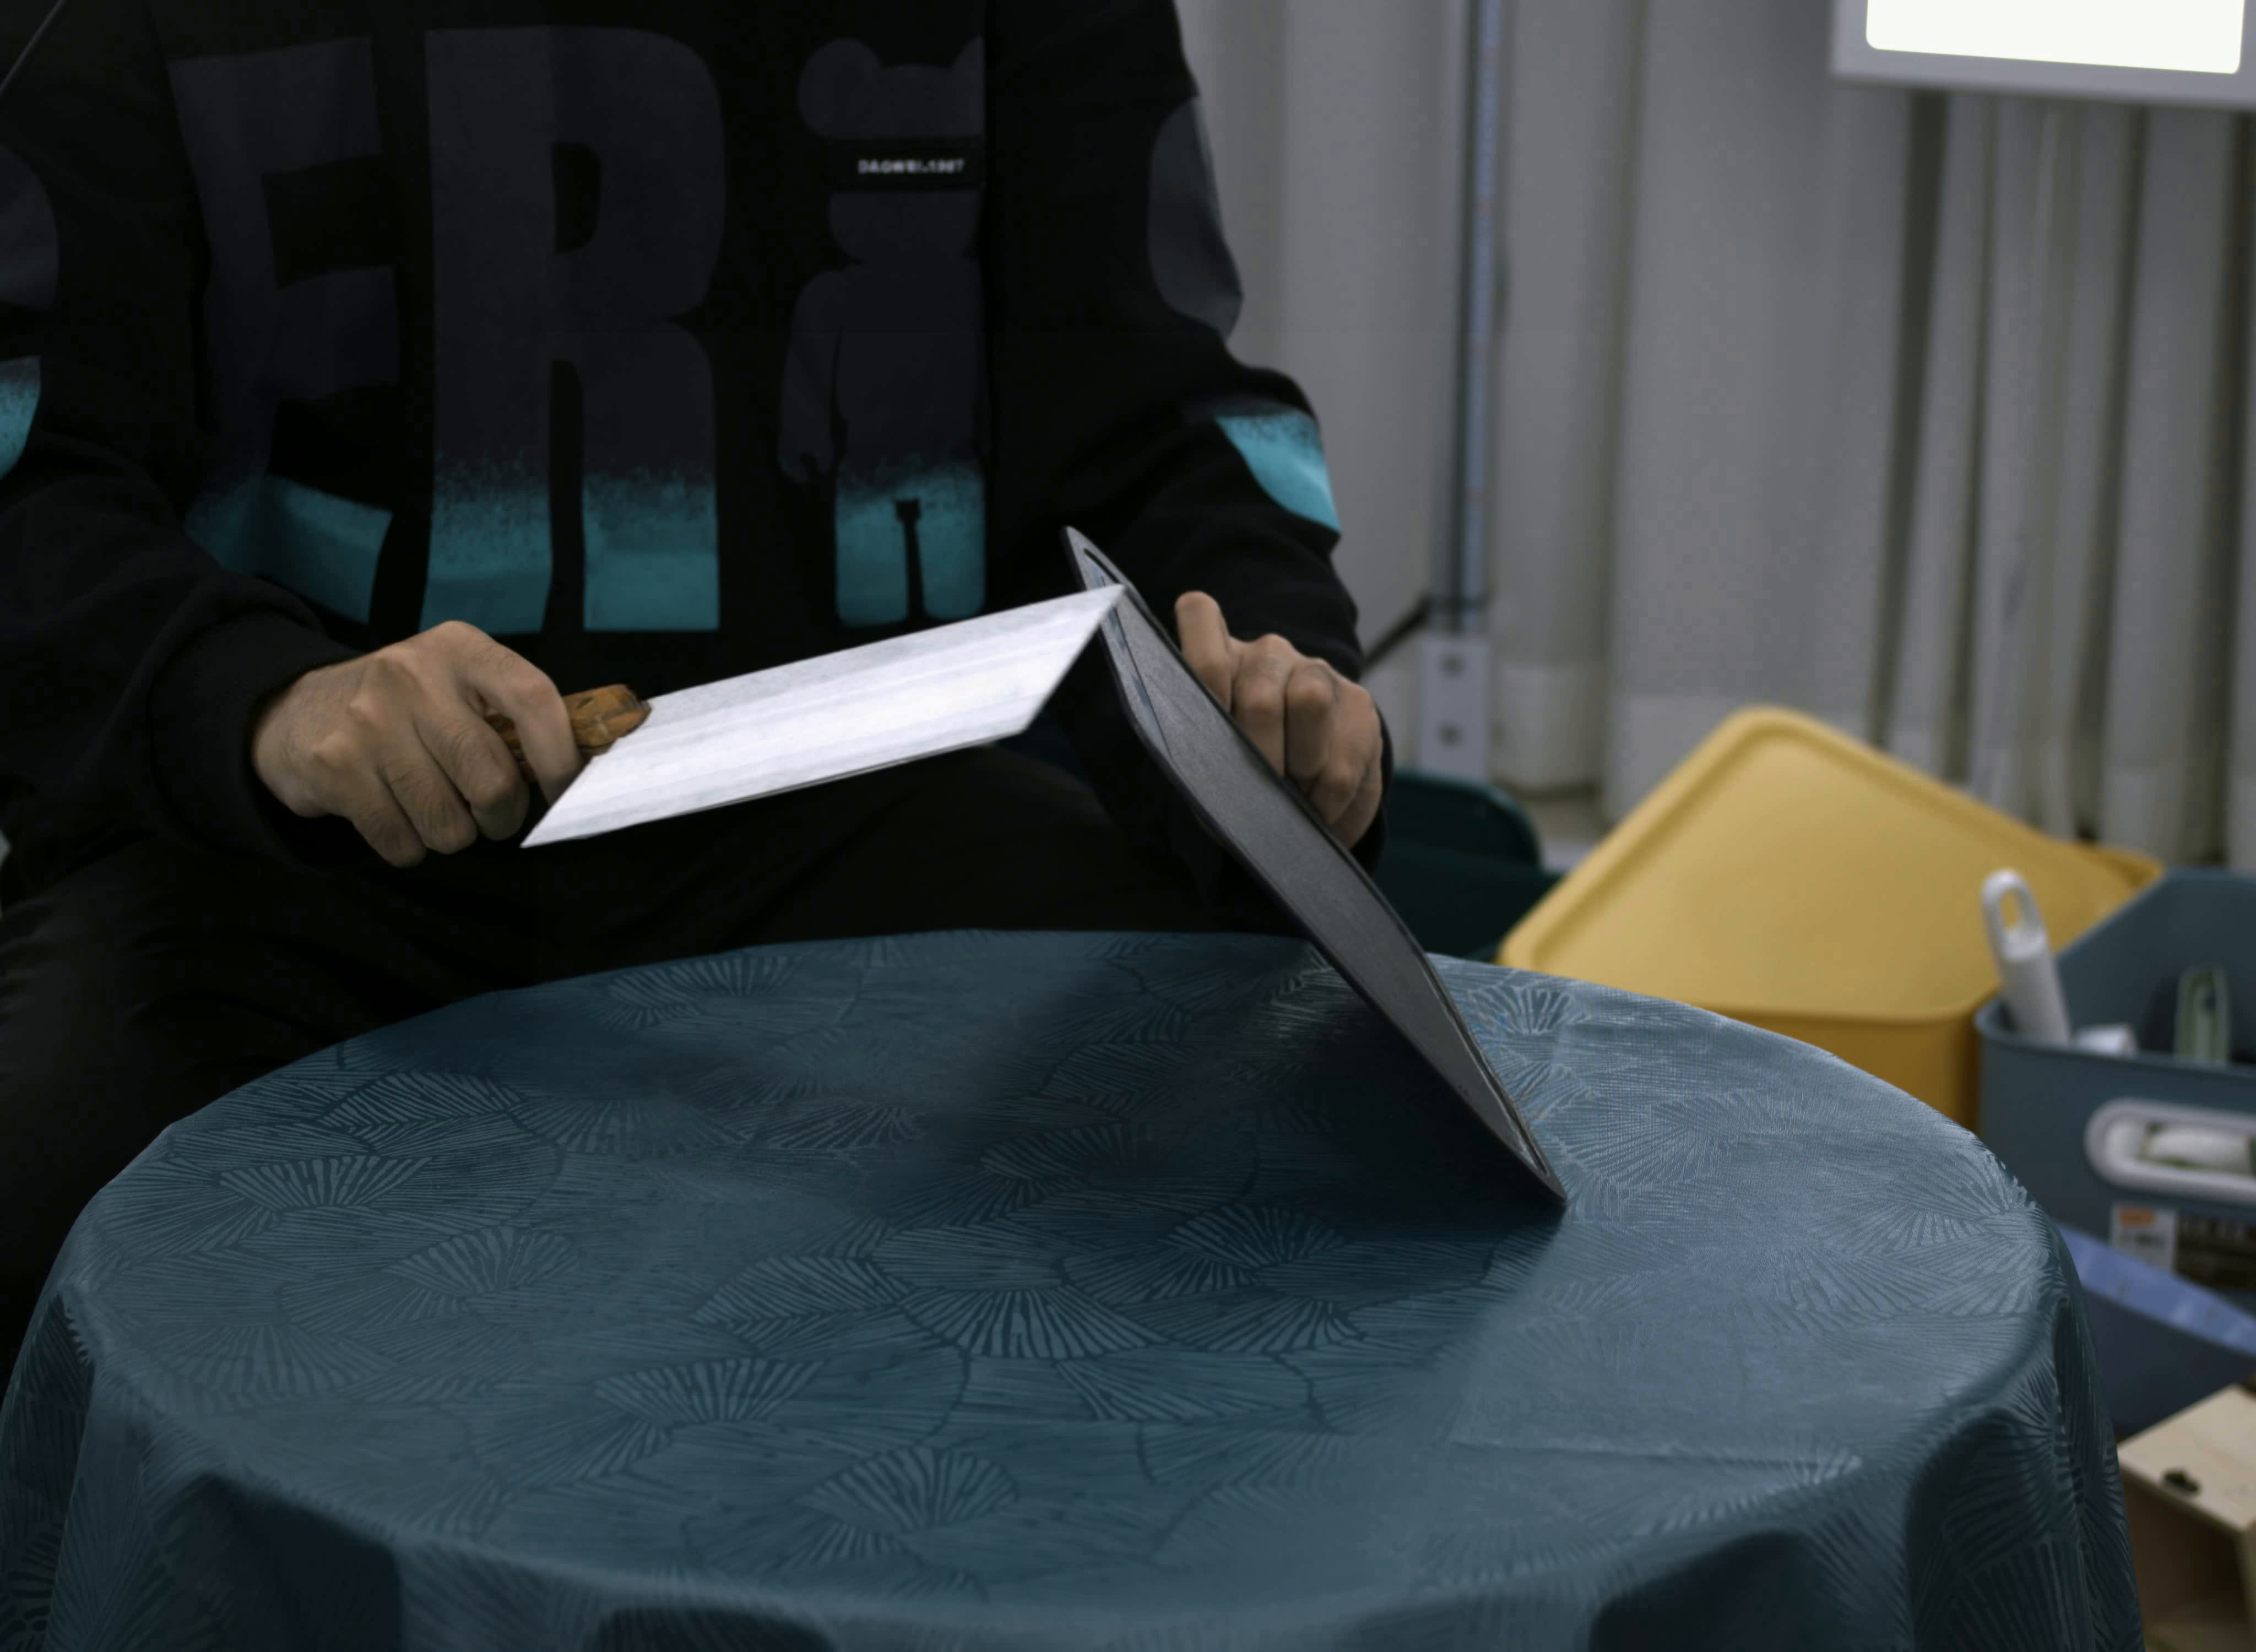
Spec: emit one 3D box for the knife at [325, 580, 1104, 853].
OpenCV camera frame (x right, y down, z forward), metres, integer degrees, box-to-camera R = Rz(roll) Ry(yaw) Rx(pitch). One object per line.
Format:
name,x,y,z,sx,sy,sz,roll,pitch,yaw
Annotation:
knife,-0.145,-0.025,1.667,0.303,0.021,0.092,-13,27,31

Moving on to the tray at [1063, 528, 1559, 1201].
tray,0.055,0.003,1.703,0.010,0.213,0.323,-39,16,6
